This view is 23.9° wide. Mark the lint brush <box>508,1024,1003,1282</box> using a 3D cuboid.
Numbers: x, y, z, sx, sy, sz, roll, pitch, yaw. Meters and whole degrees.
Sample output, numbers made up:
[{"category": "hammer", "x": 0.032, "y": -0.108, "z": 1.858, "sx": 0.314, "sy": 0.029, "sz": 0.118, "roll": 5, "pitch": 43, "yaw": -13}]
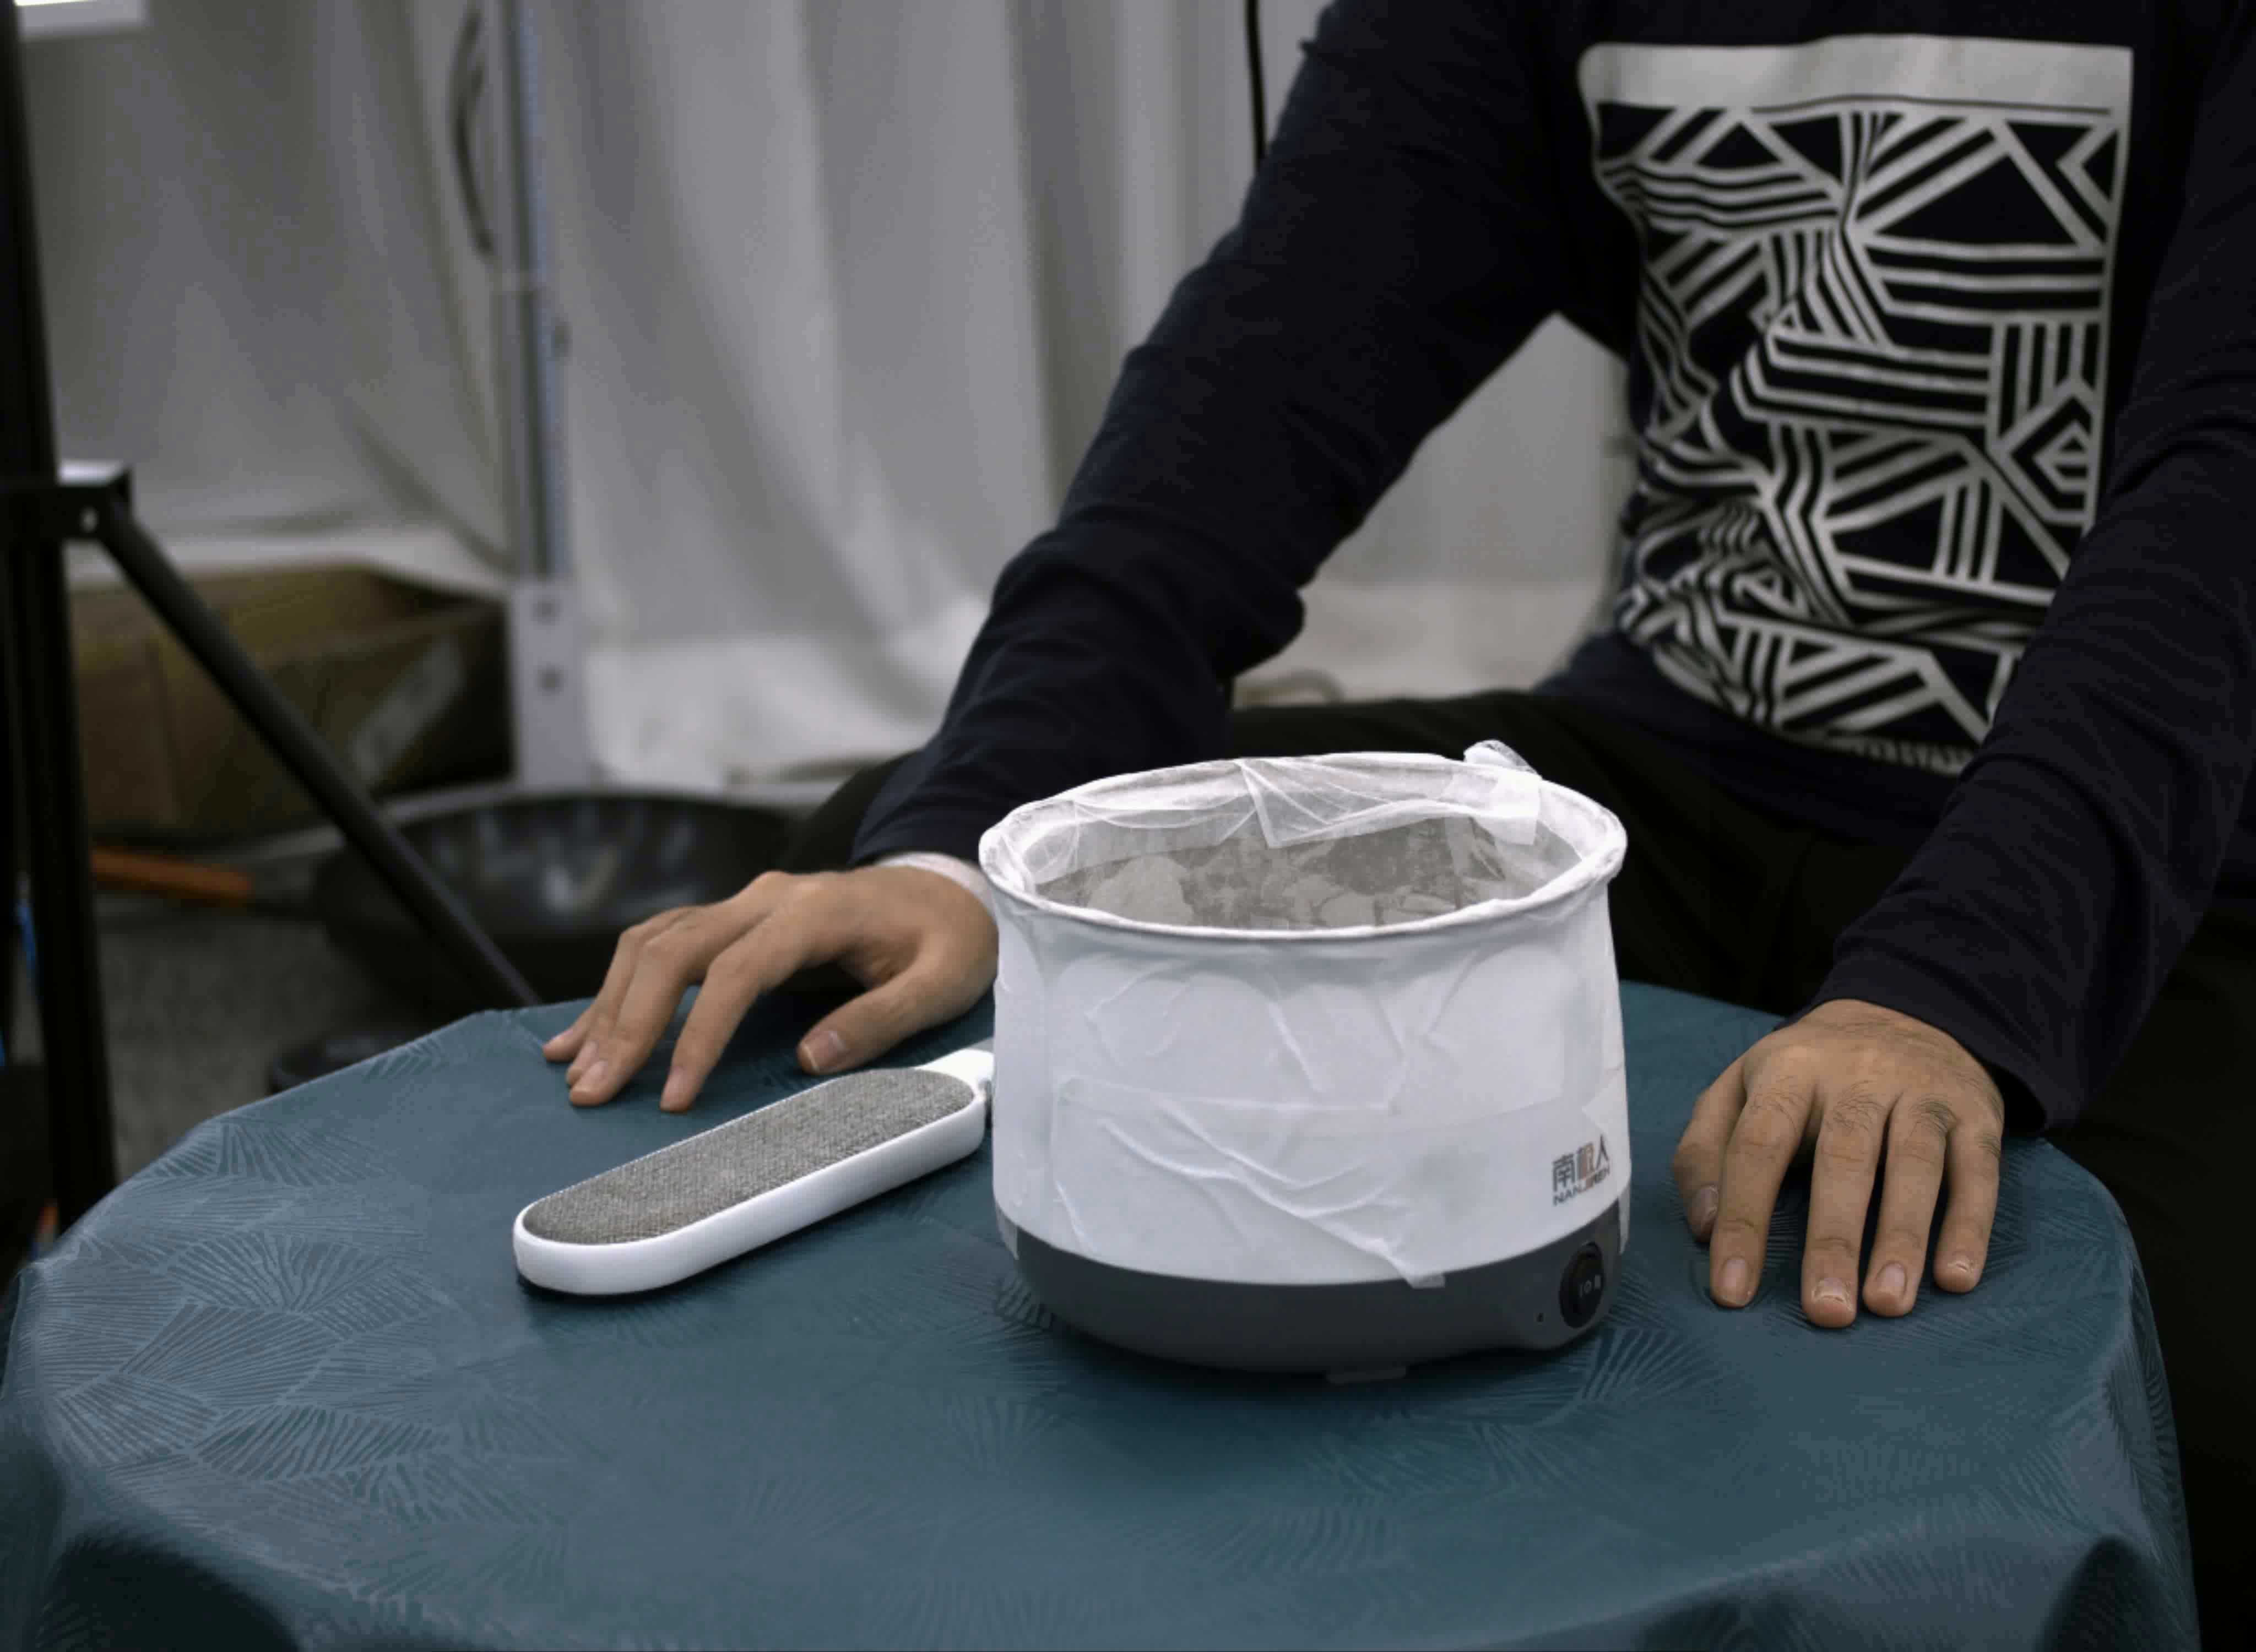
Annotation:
[{"category": "lint brush", "x": -0.070, "y": 0.086, "z": 1.602, "sx": 0.061, "sy": 0.021, "sz": 0.302, "roll": 3, "pitch": 15, "yaw": 39}]

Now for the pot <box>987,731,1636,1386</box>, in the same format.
[{"category": "pot", "x": 0.065, "y": 0.056, "z": 1.477, "sx": 0.182, "sy": 0.136, "sz": 0.229, "roll": 11, "pitch": 21, "yaw": 33}]
